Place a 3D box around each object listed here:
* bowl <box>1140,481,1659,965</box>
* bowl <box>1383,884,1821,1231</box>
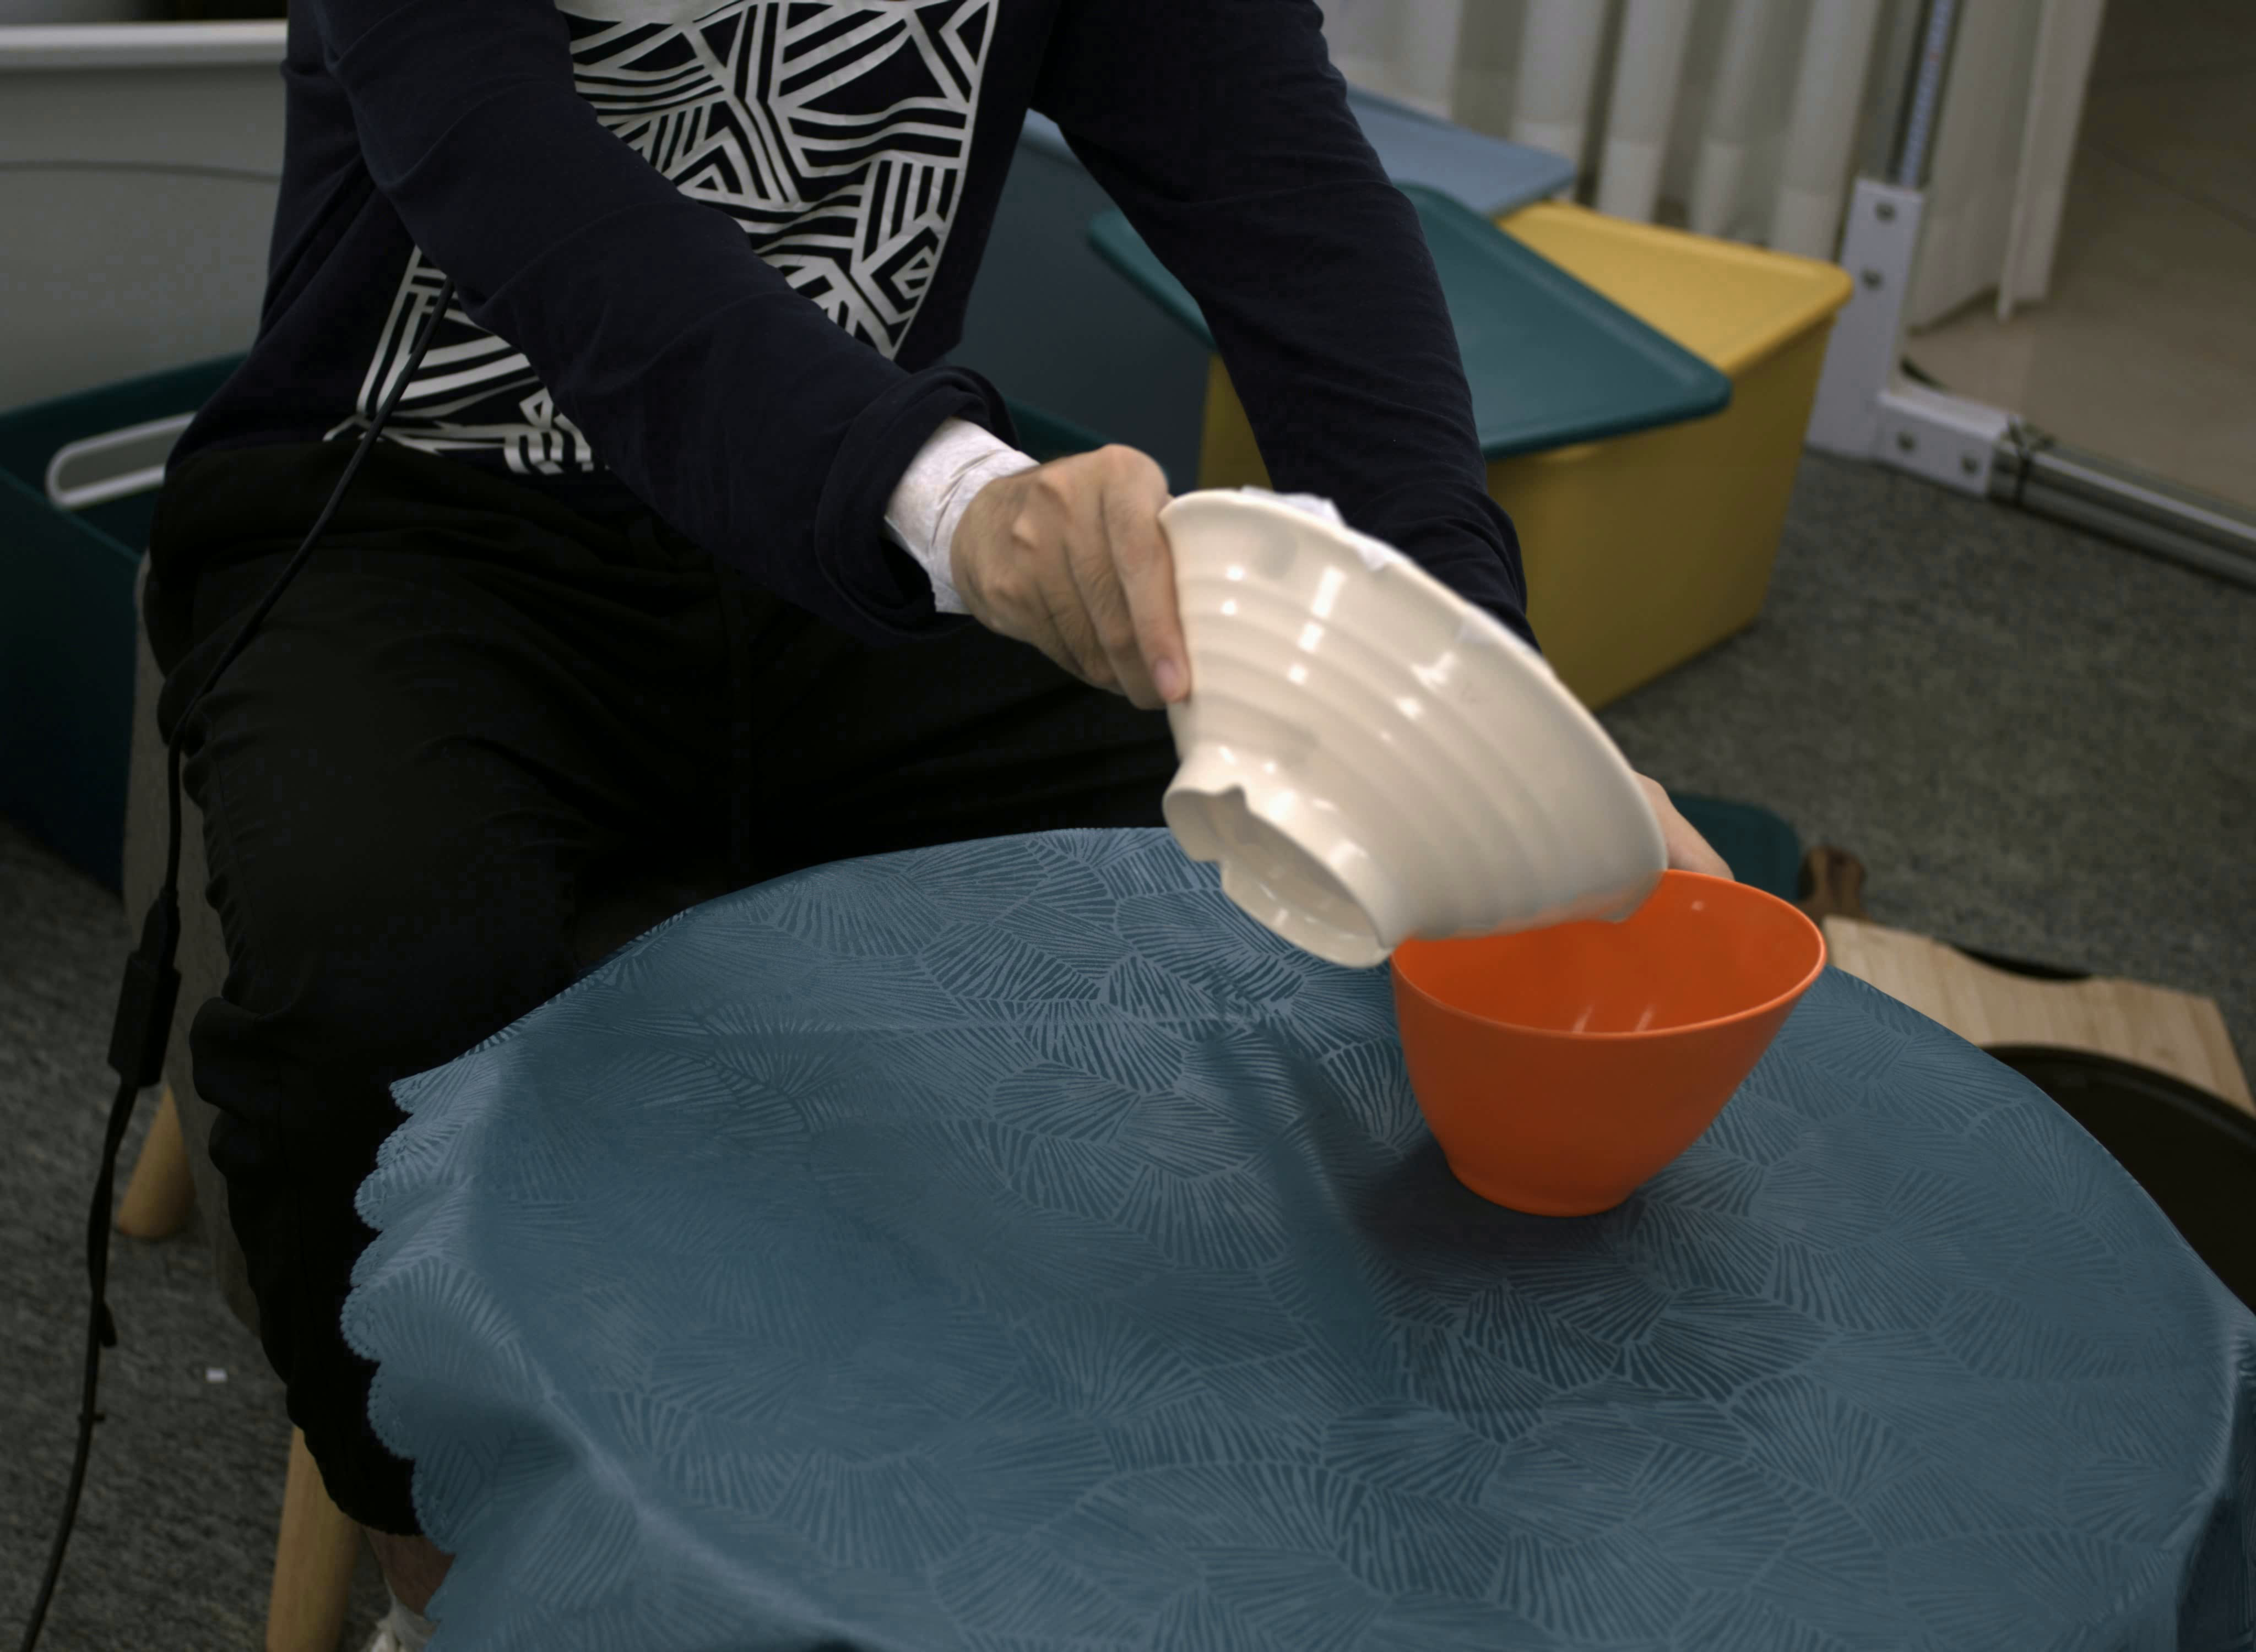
[{"bbox_3d":[0.065,-0.013,1.699,0.205,0.202,0.078,26,68,33],"label":"bowl"},{"bbox_3d":[0.157,0.081,1.820,0.147,0.104,0.149,3,23,-2],"label":"bowl"}]
